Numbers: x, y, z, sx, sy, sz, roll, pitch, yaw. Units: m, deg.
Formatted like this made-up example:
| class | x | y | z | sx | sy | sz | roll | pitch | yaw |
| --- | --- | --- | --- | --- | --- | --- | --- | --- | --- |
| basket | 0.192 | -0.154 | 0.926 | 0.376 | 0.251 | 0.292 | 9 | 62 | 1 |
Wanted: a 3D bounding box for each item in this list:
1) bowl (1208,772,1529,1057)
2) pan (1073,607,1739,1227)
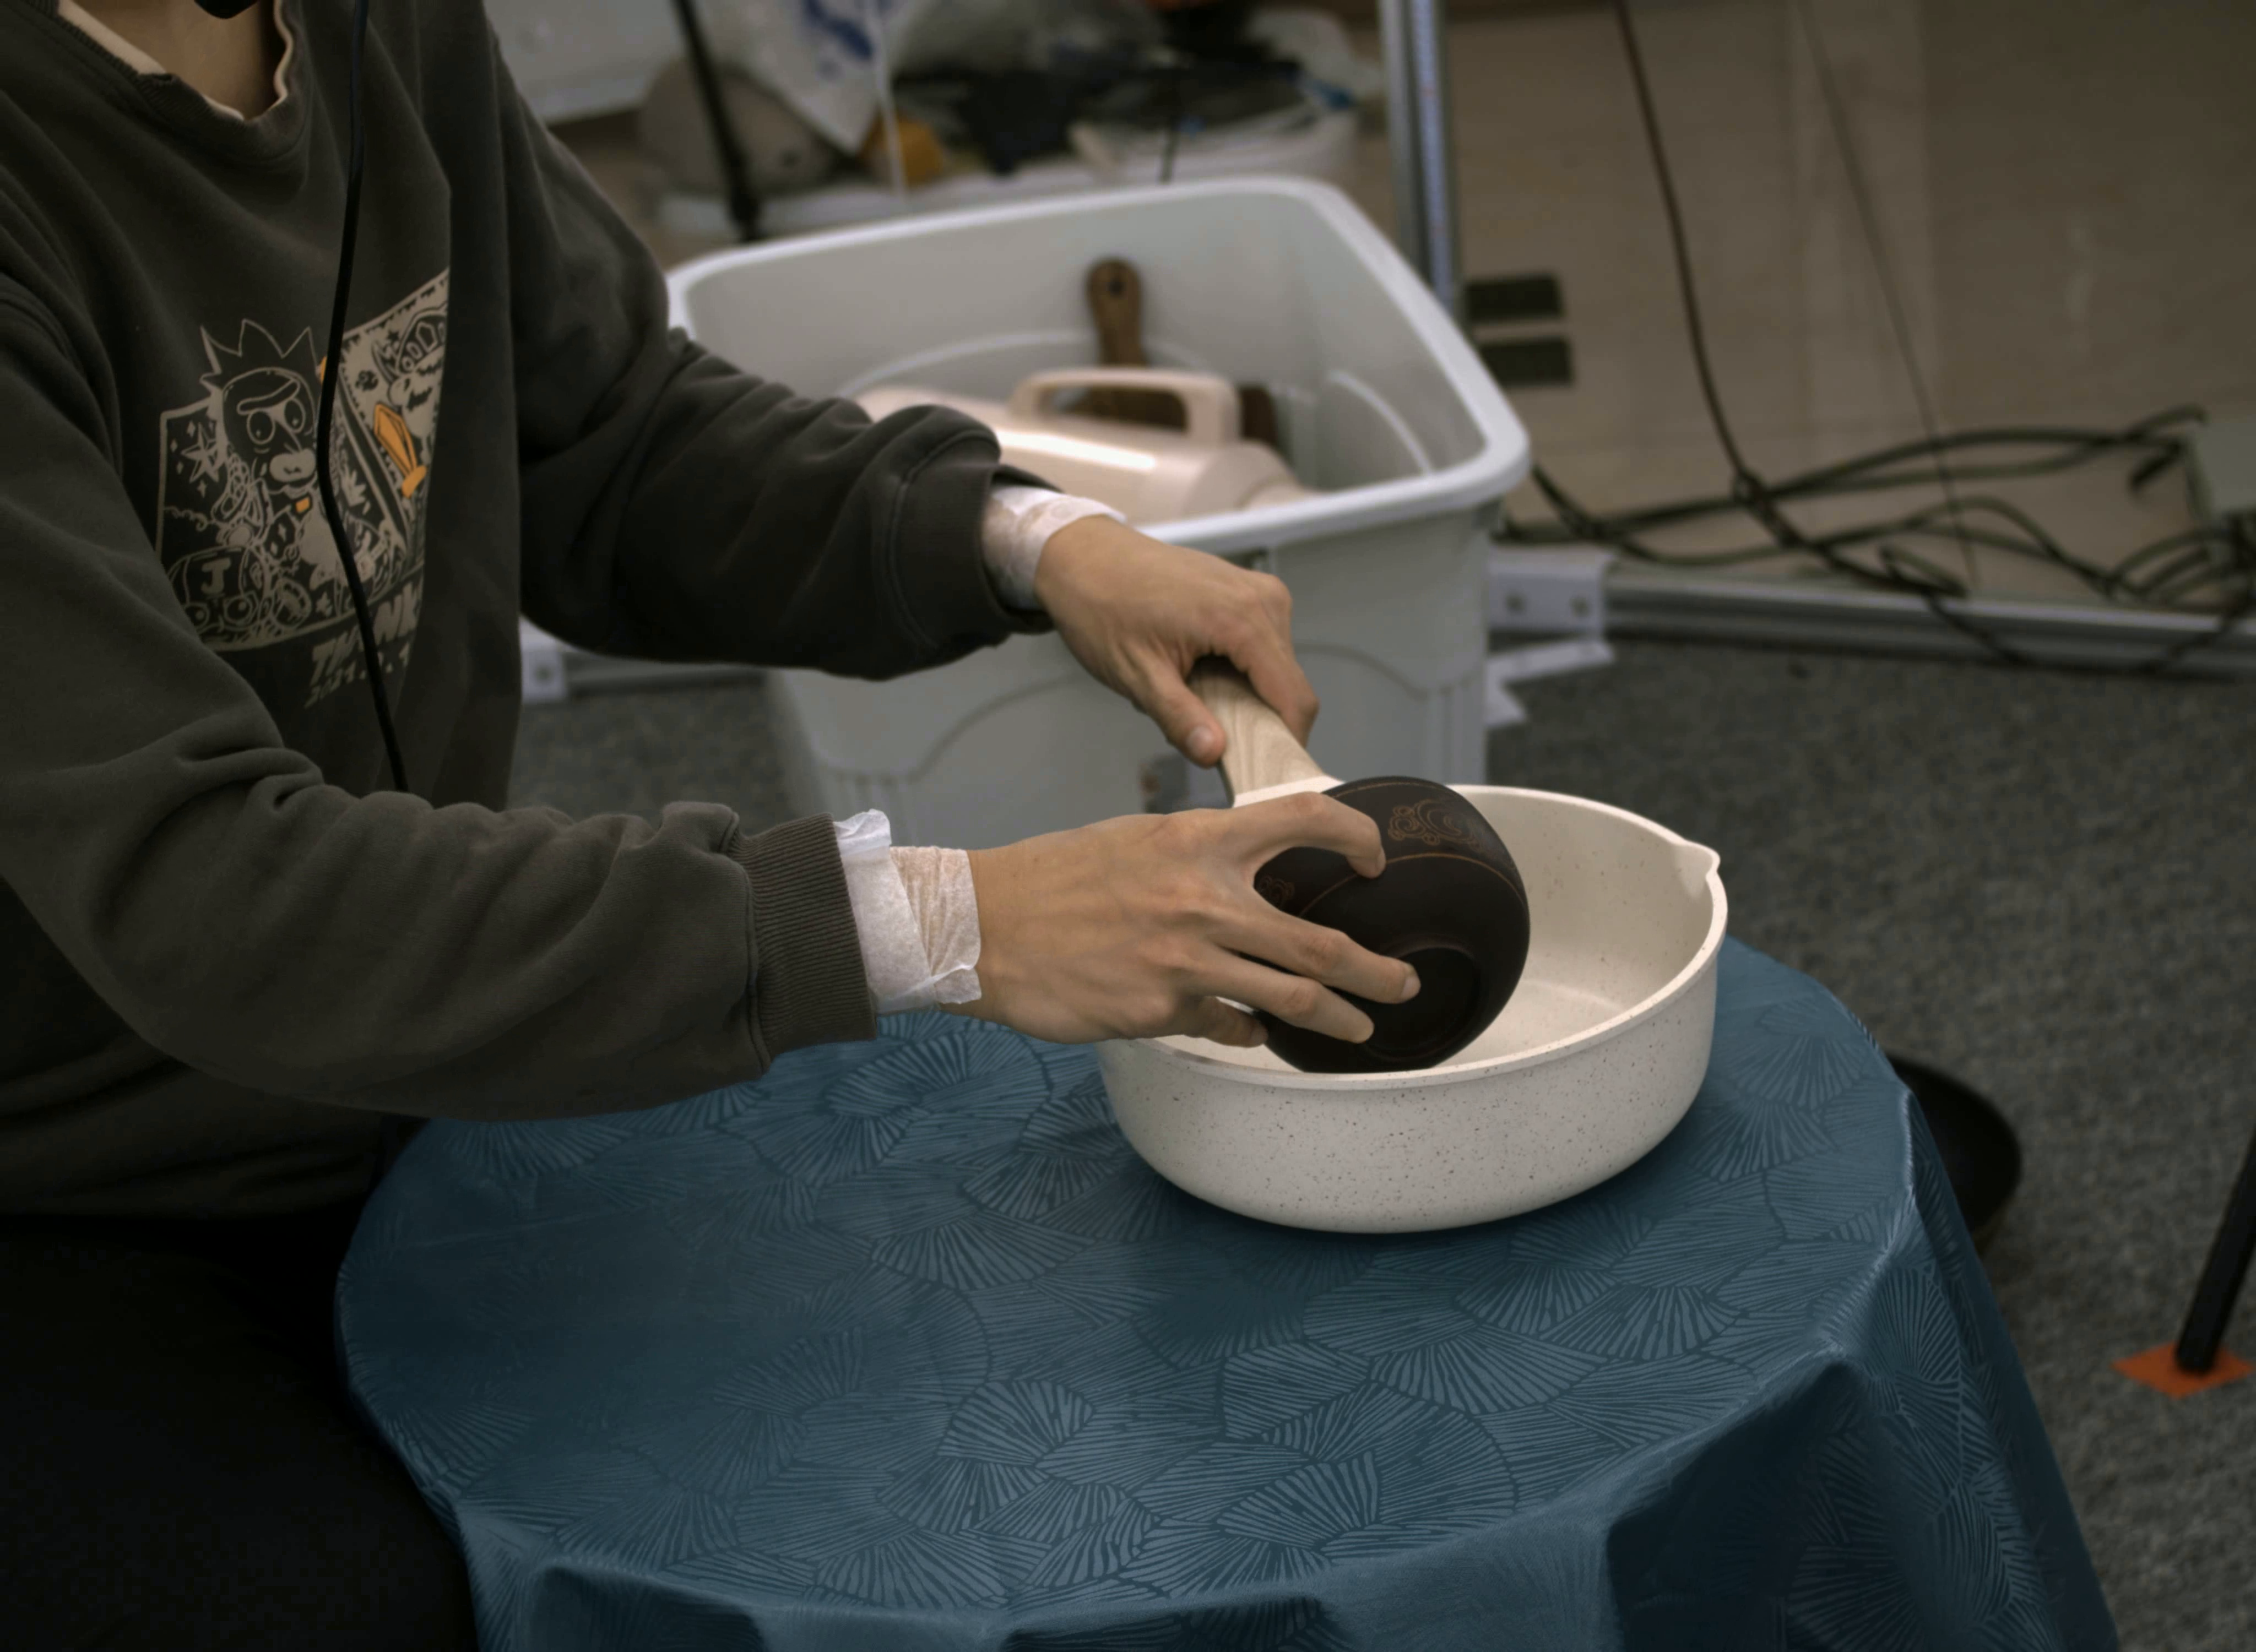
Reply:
| class | x | y | z | sx | sy | sz | roll | pitch | yaw |
| --- | --- | --- | --- | --- | --- | --- | --- | --- | --- |
| bowl | 0.095 | 0.046 | 2.098 | 0.117 | 0.120 | 0.068 | -13 | 41 | -15 |
| pan | 0.083 | 0.031 | 2.240 | 0.262 | 0.103 | 0.429 | -14 | 26 | -12 |
